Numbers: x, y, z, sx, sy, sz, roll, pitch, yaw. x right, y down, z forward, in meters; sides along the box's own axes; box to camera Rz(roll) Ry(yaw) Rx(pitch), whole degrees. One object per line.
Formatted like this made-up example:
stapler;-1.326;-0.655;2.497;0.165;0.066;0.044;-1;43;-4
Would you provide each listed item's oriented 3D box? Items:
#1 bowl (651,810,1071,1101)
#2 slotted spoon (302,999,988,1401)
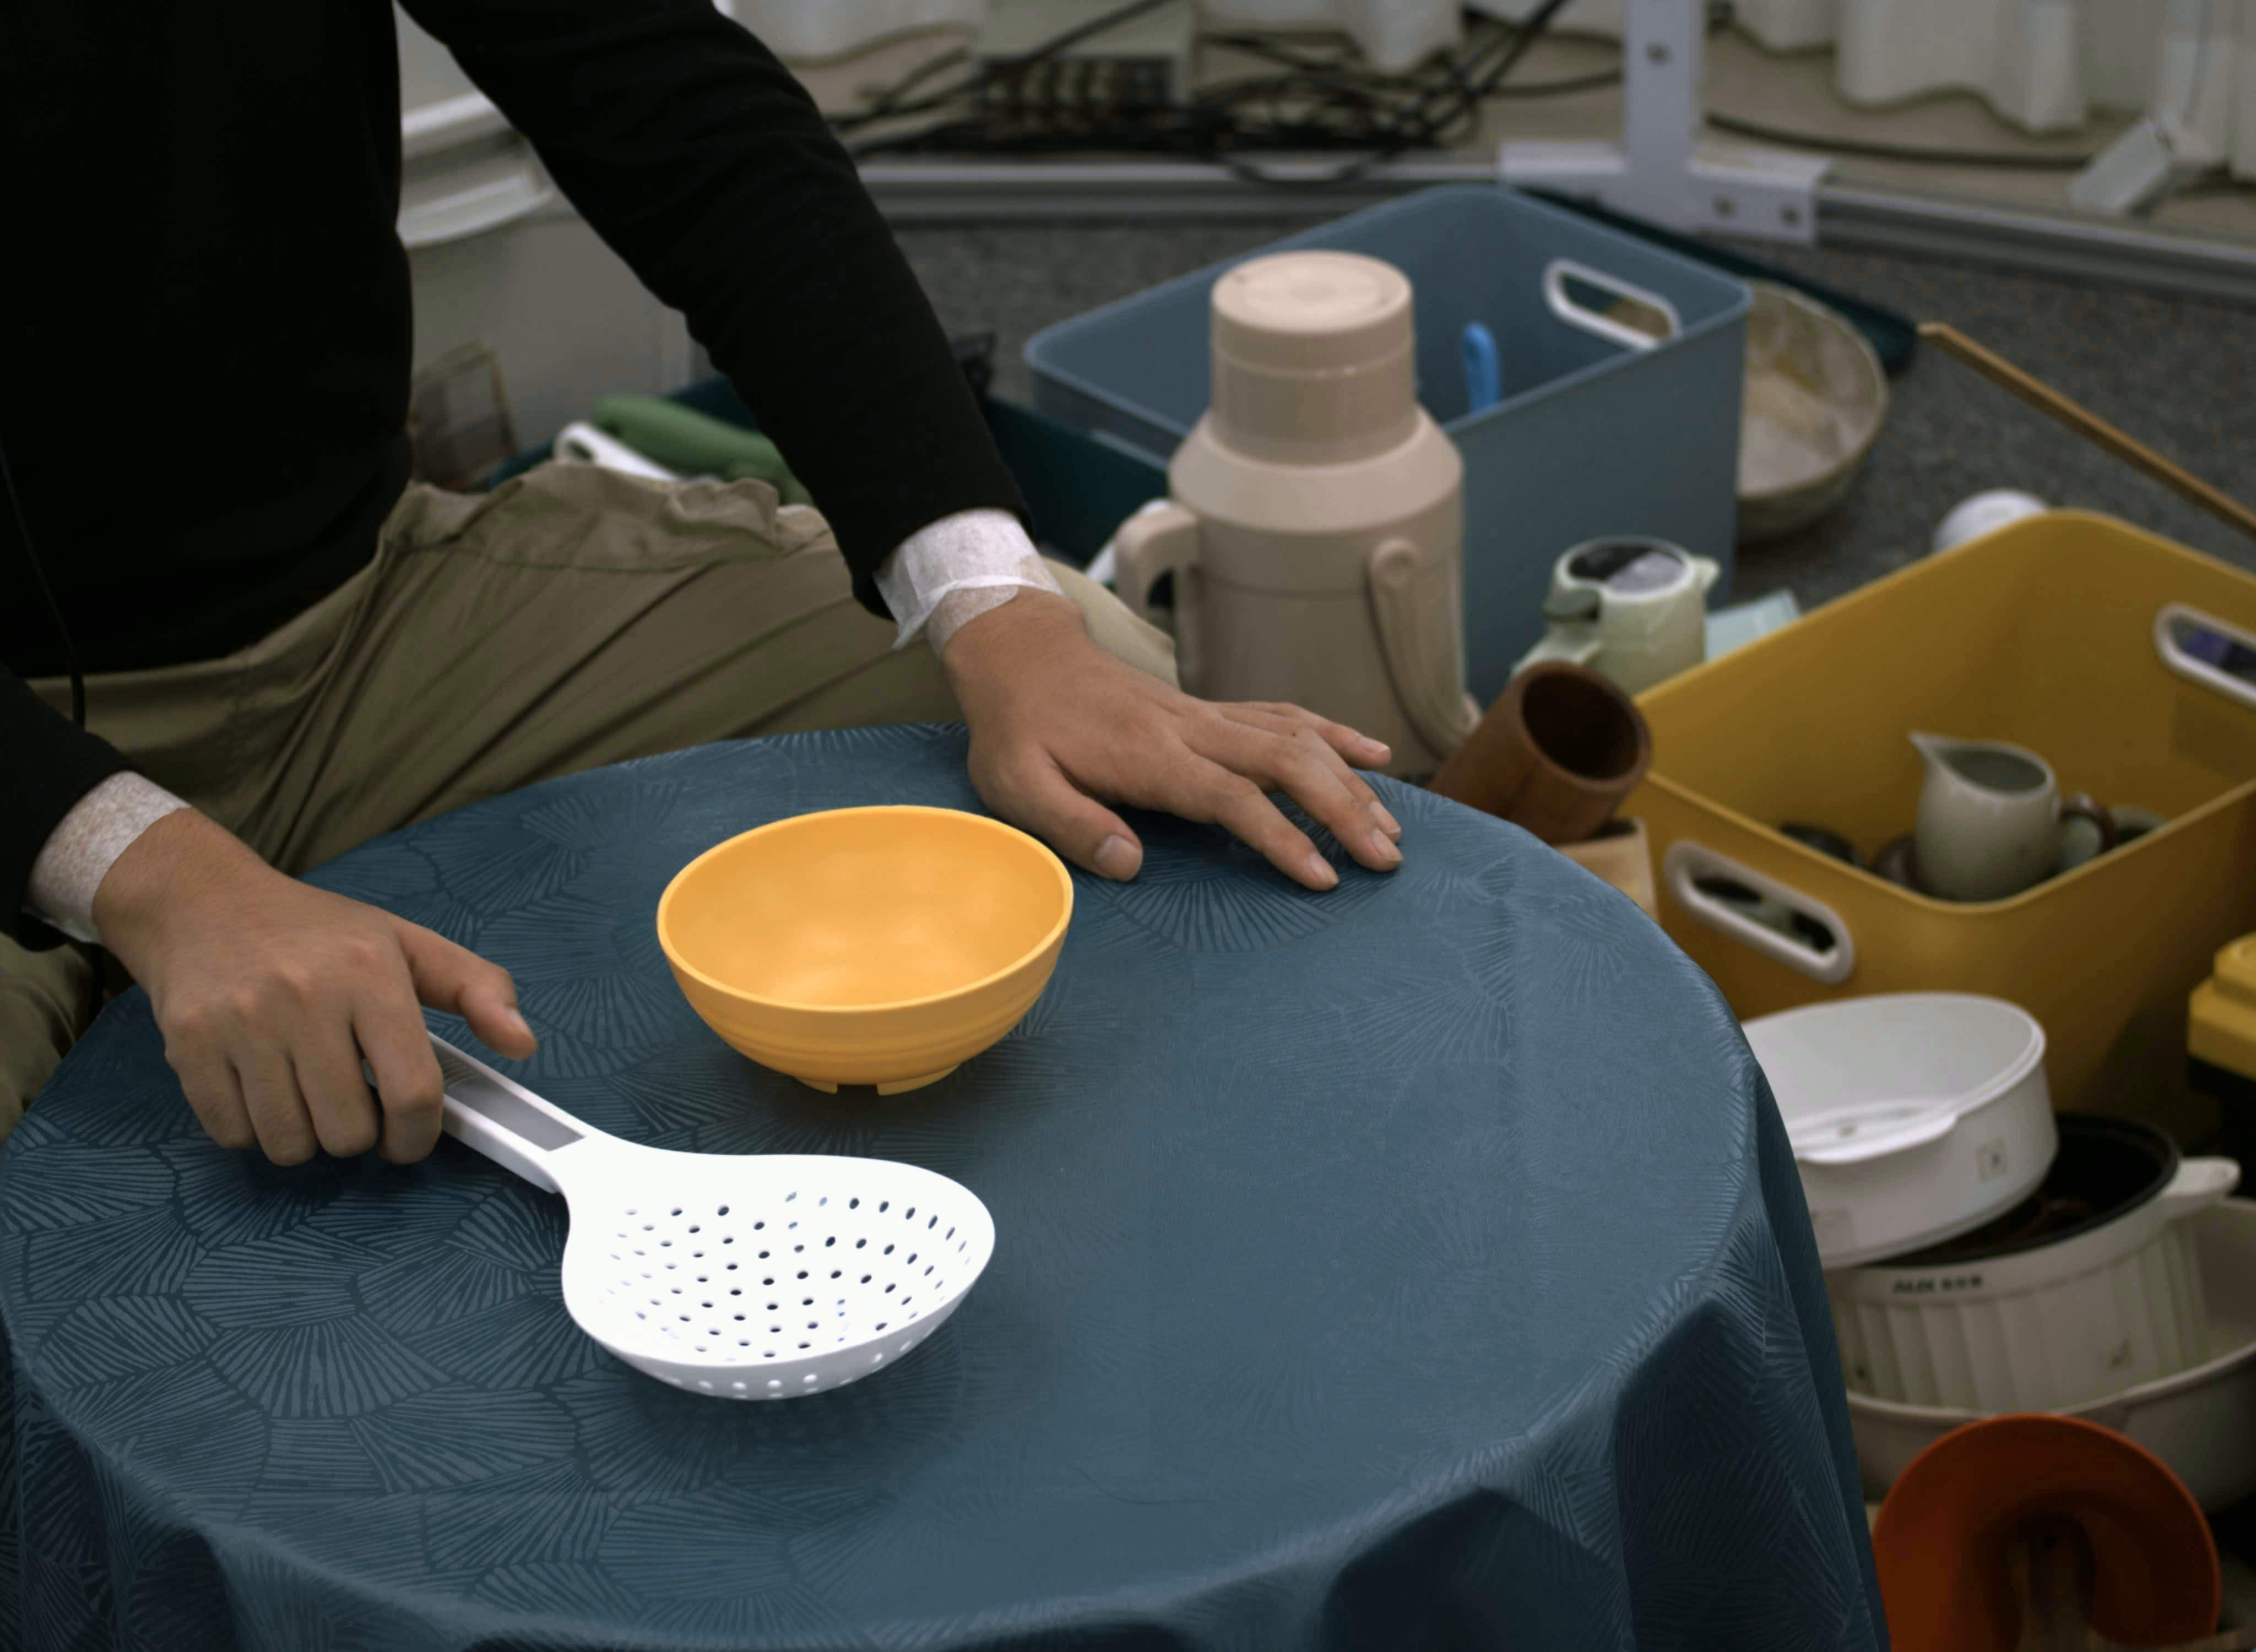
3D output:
bowl;-0.091;0.054;1.942;0.144;0.059;0.147;0;27;1
slotted spoon;-0.175;0.115;1.842;0.137;0.045;0.350;-23;33;-31
